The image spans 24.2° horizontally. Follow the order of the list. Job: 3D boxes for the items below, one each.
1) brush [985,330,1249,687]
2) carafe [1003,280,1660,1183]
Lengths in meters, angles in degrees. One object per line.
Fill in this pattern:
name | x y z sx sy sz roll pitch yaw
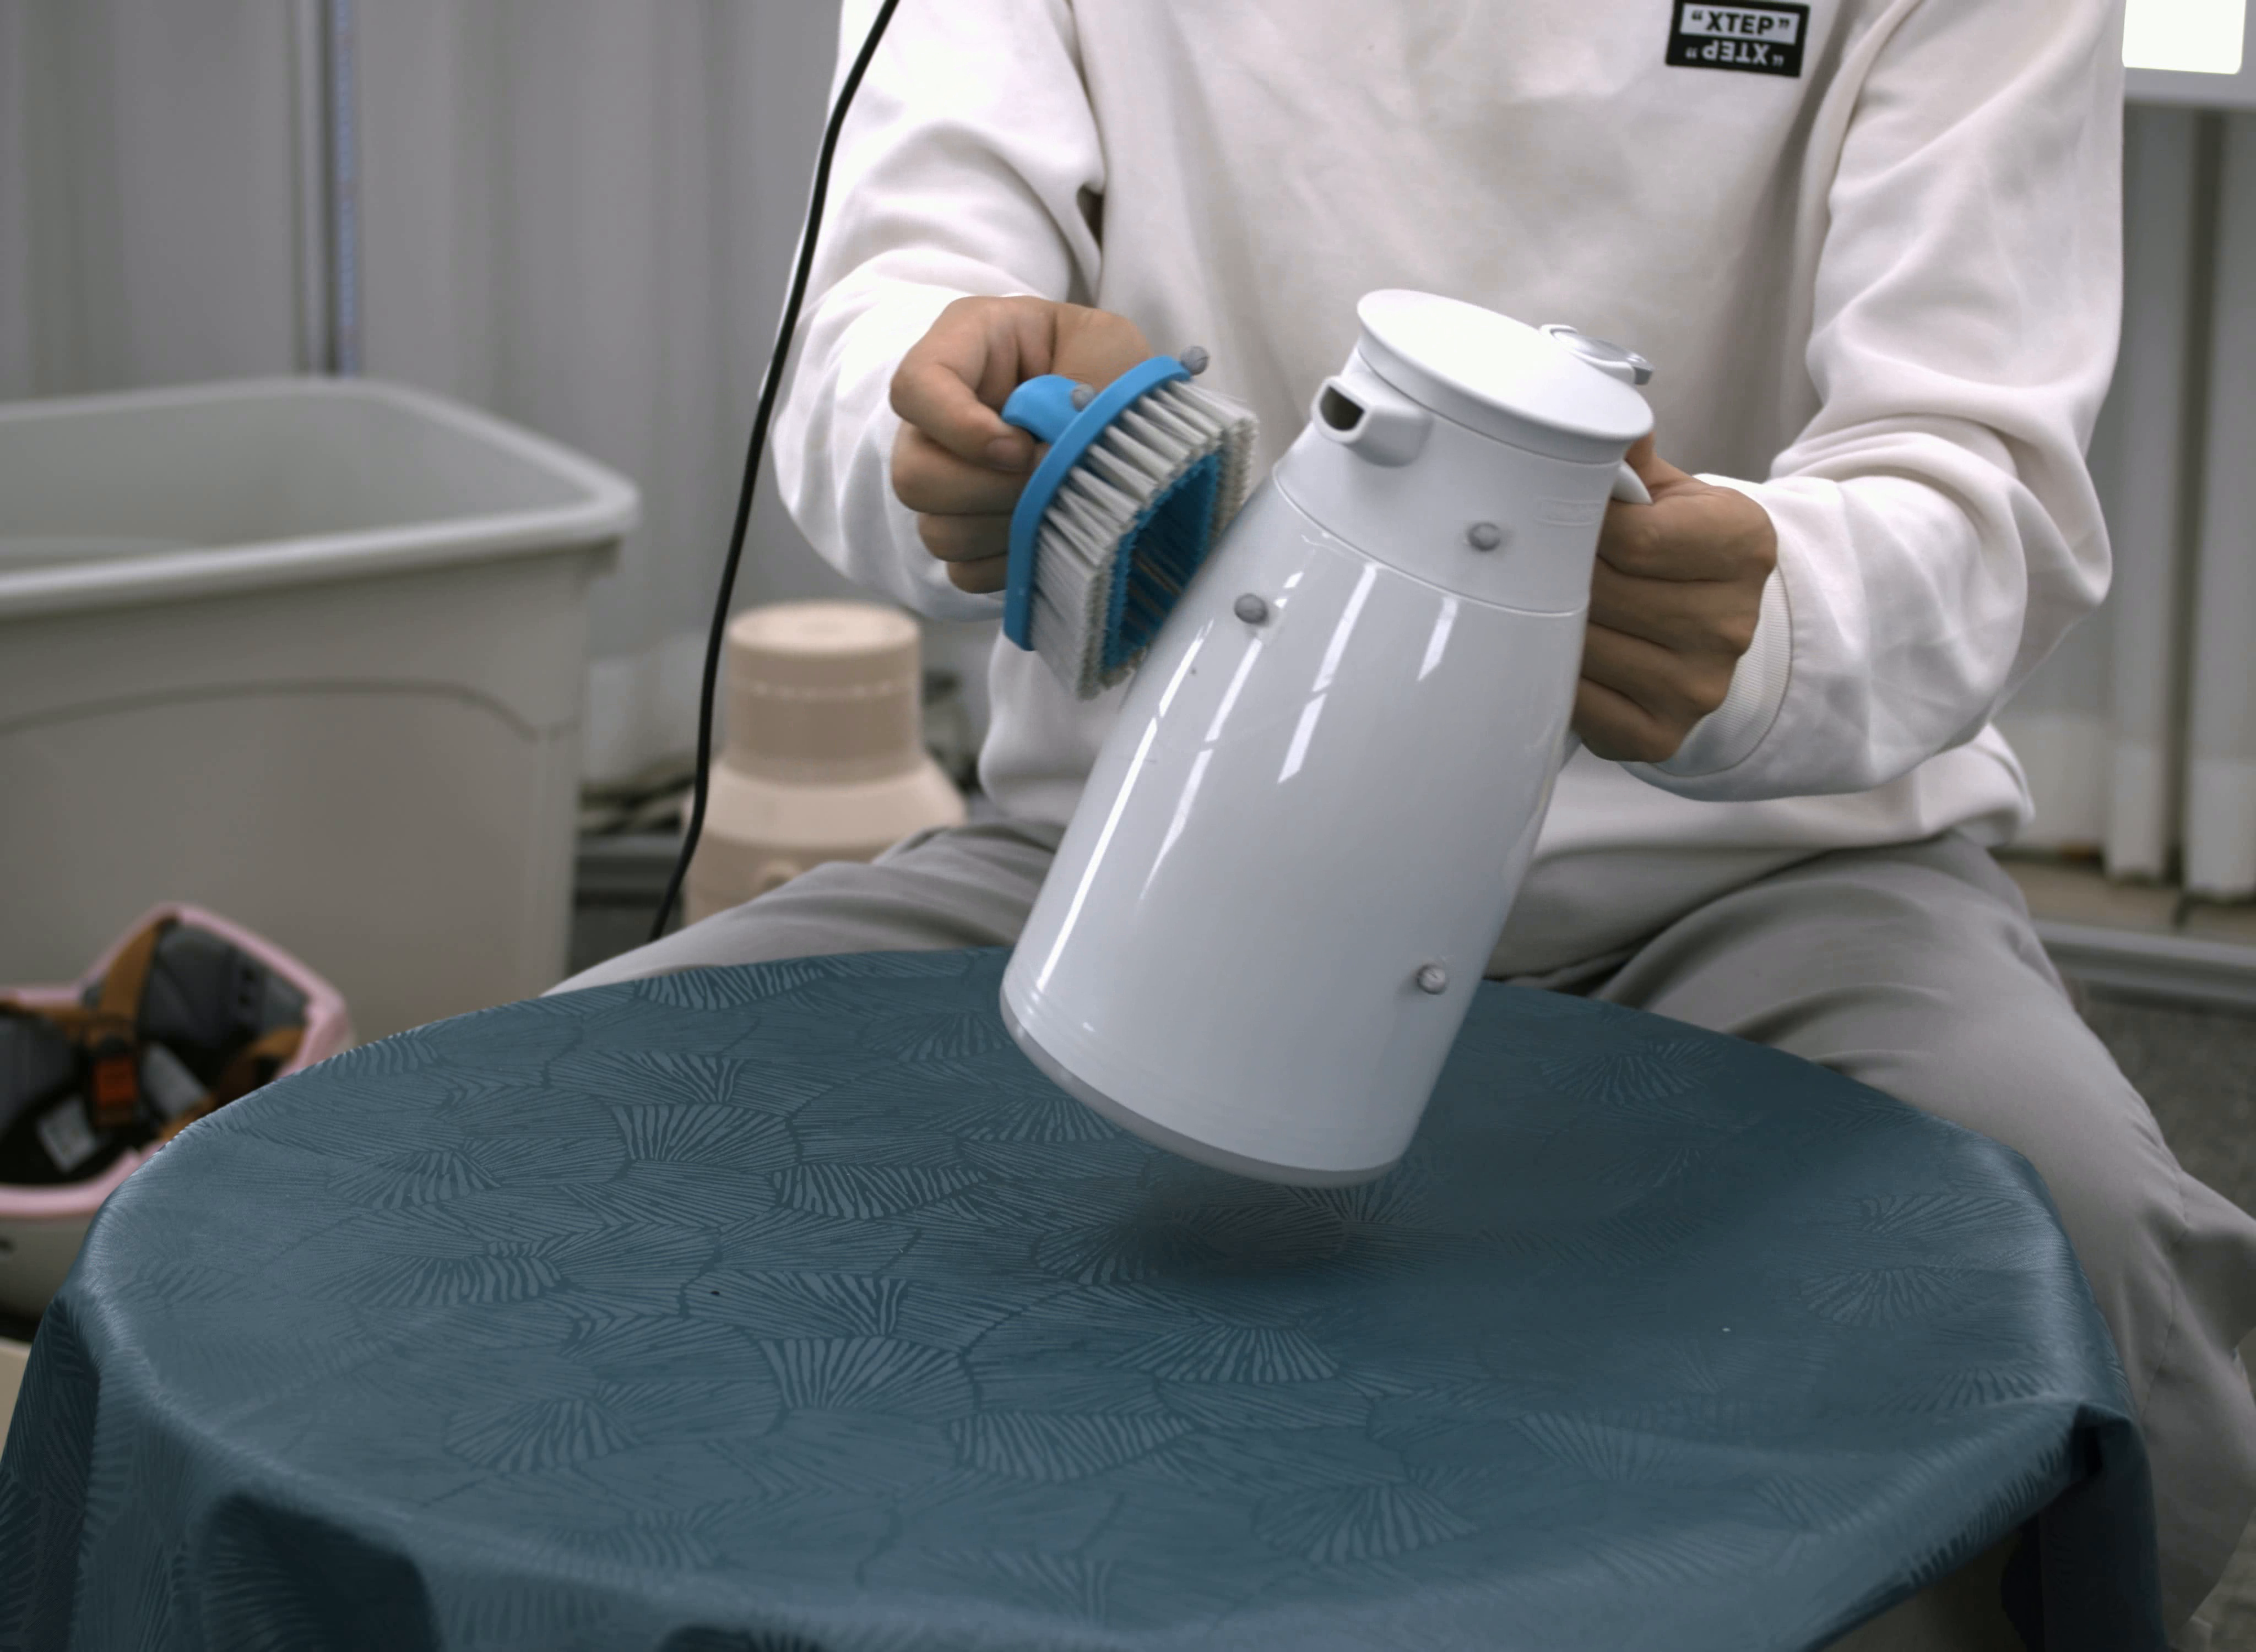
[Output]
brush | -0.012 -0.101 1.575 0.063 0.084 0.143 38 -16 12
carafe | 0.080 -0.035 1.558 0.169 0.250 0.131 -2 31 -49
